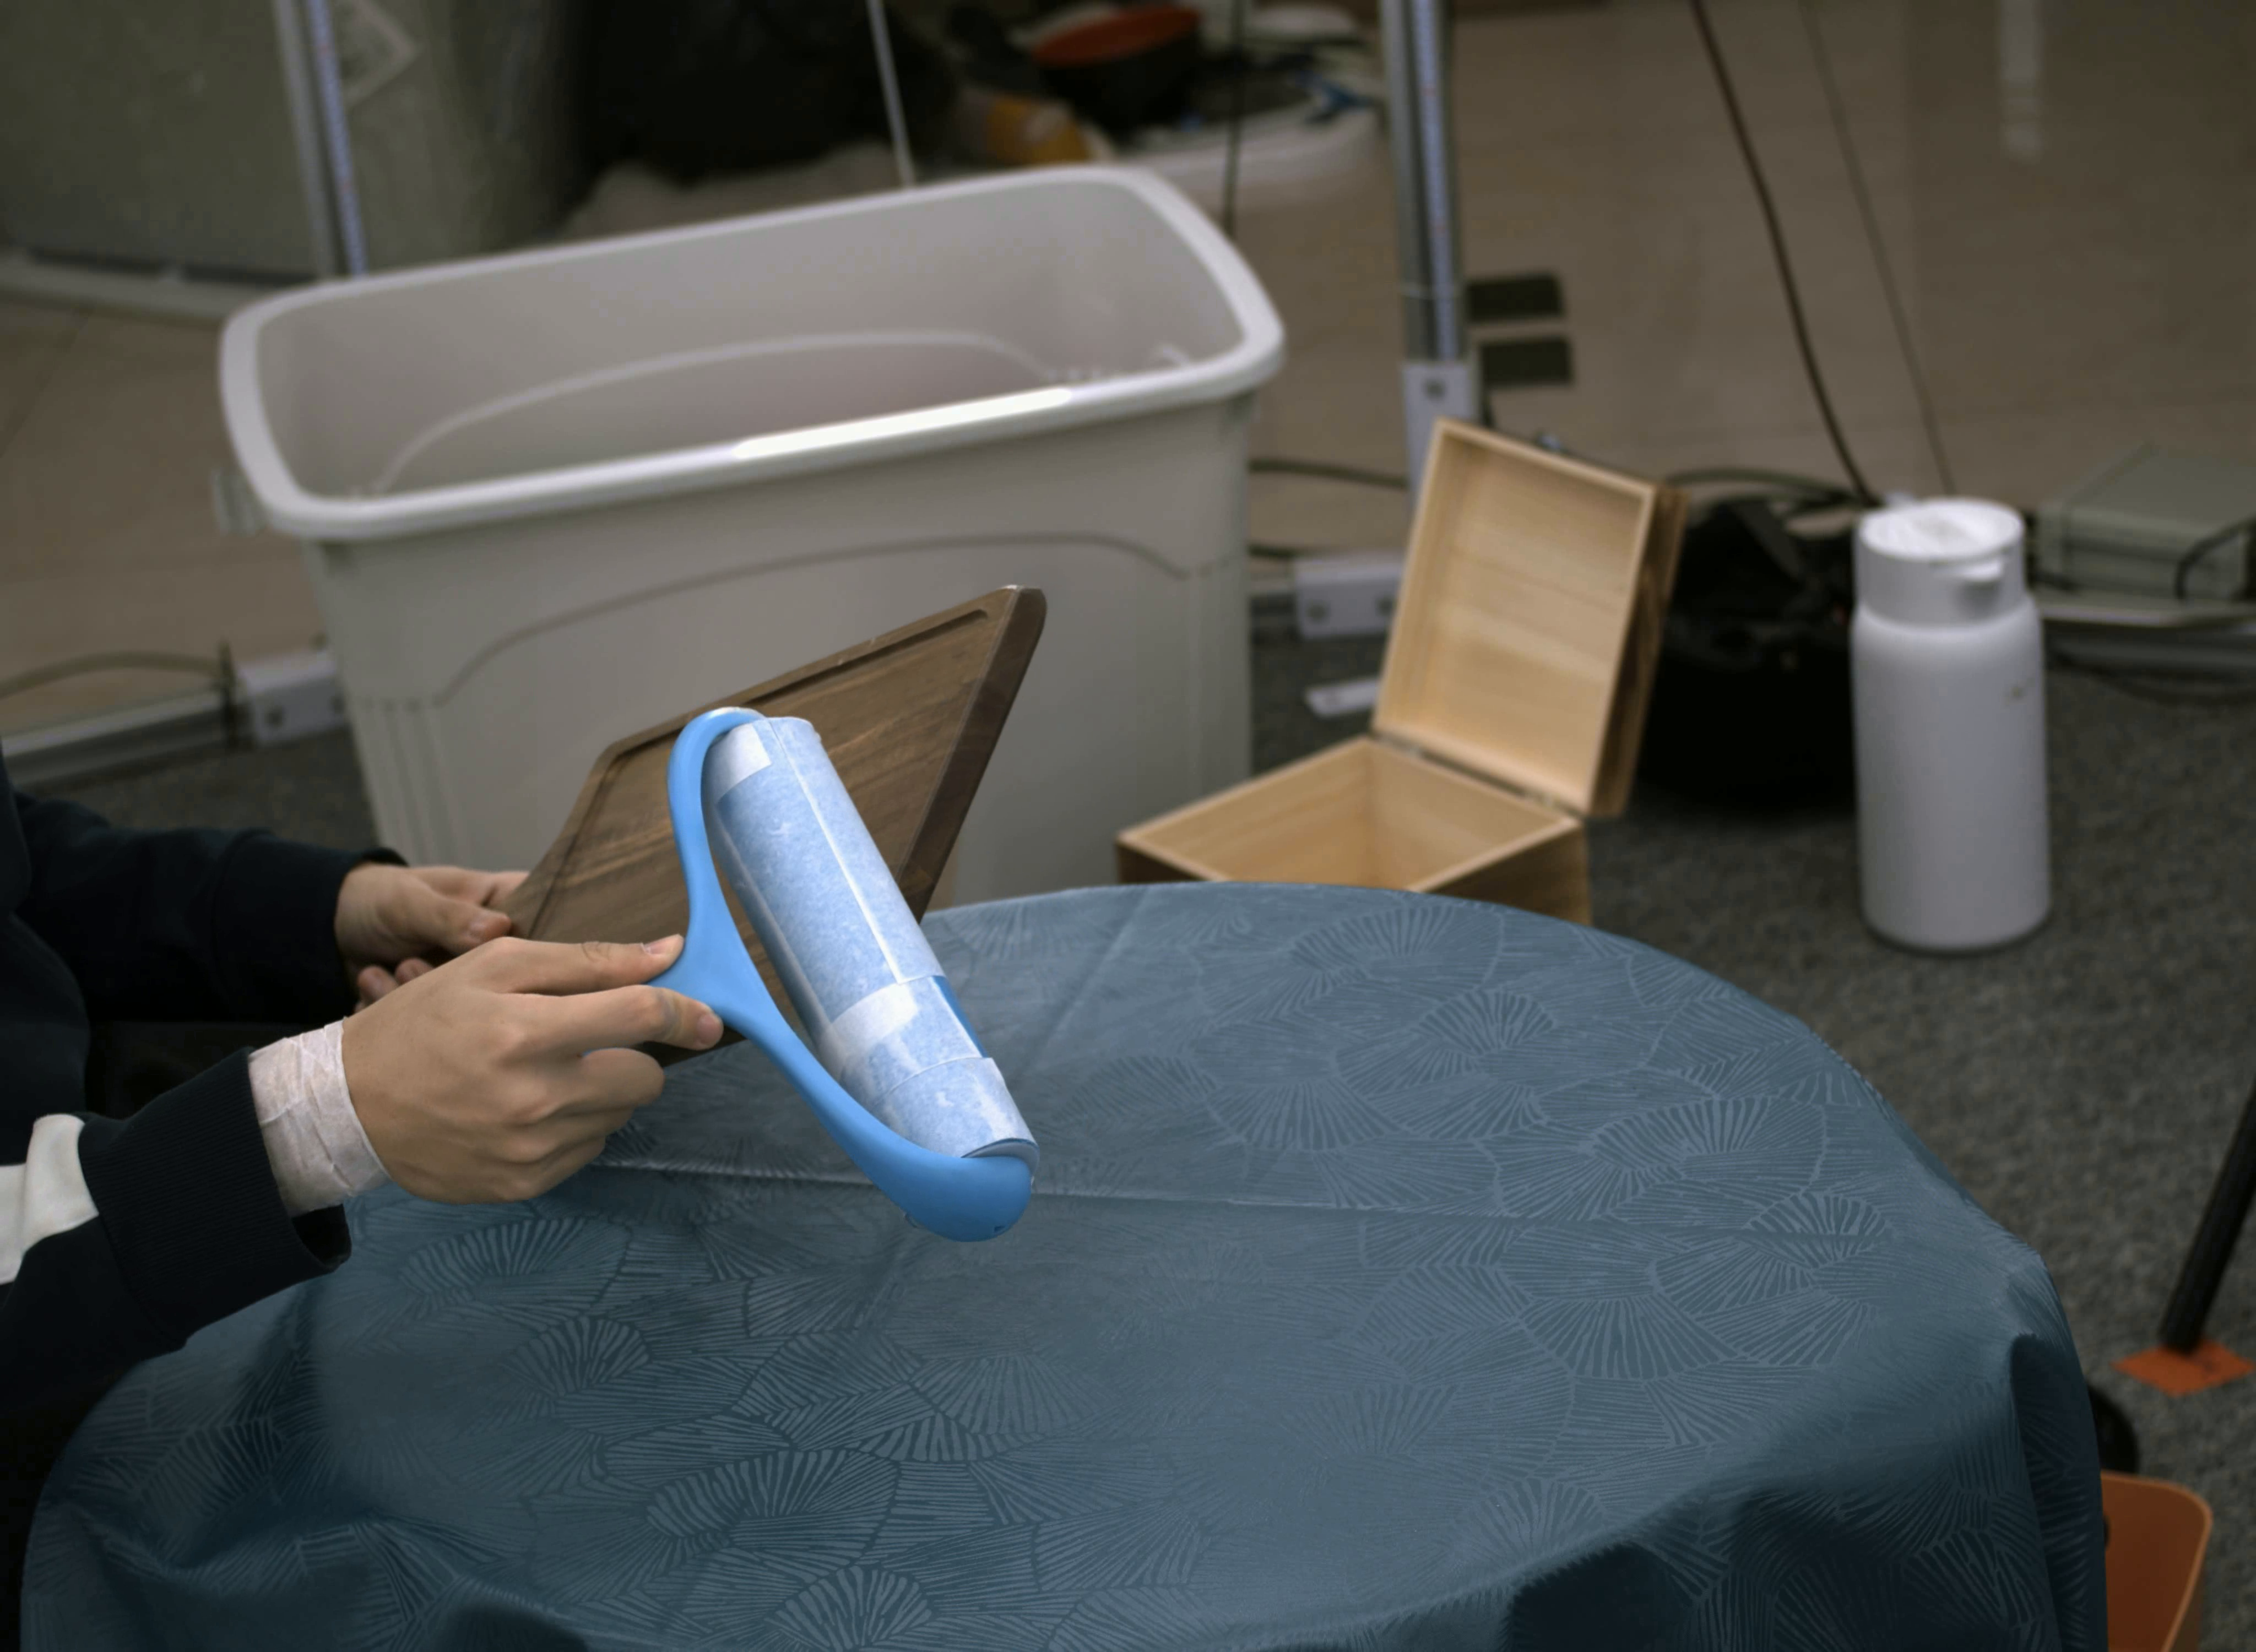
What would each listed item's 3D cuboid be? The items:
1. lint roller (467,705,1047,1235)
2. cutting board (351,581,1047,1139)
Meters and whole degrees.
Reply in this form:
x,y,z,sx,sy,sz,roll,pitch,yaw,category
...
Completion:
x,y,z,sx,sy,sz,roll,pitch,yaw,category
-0.146,0.069,1.999,0.179,0.069,0.226,-22,65,-22,lint roller
-0.186,0.026,2.222,0.354,0.023,0.198,-20,37,41,cutting board
